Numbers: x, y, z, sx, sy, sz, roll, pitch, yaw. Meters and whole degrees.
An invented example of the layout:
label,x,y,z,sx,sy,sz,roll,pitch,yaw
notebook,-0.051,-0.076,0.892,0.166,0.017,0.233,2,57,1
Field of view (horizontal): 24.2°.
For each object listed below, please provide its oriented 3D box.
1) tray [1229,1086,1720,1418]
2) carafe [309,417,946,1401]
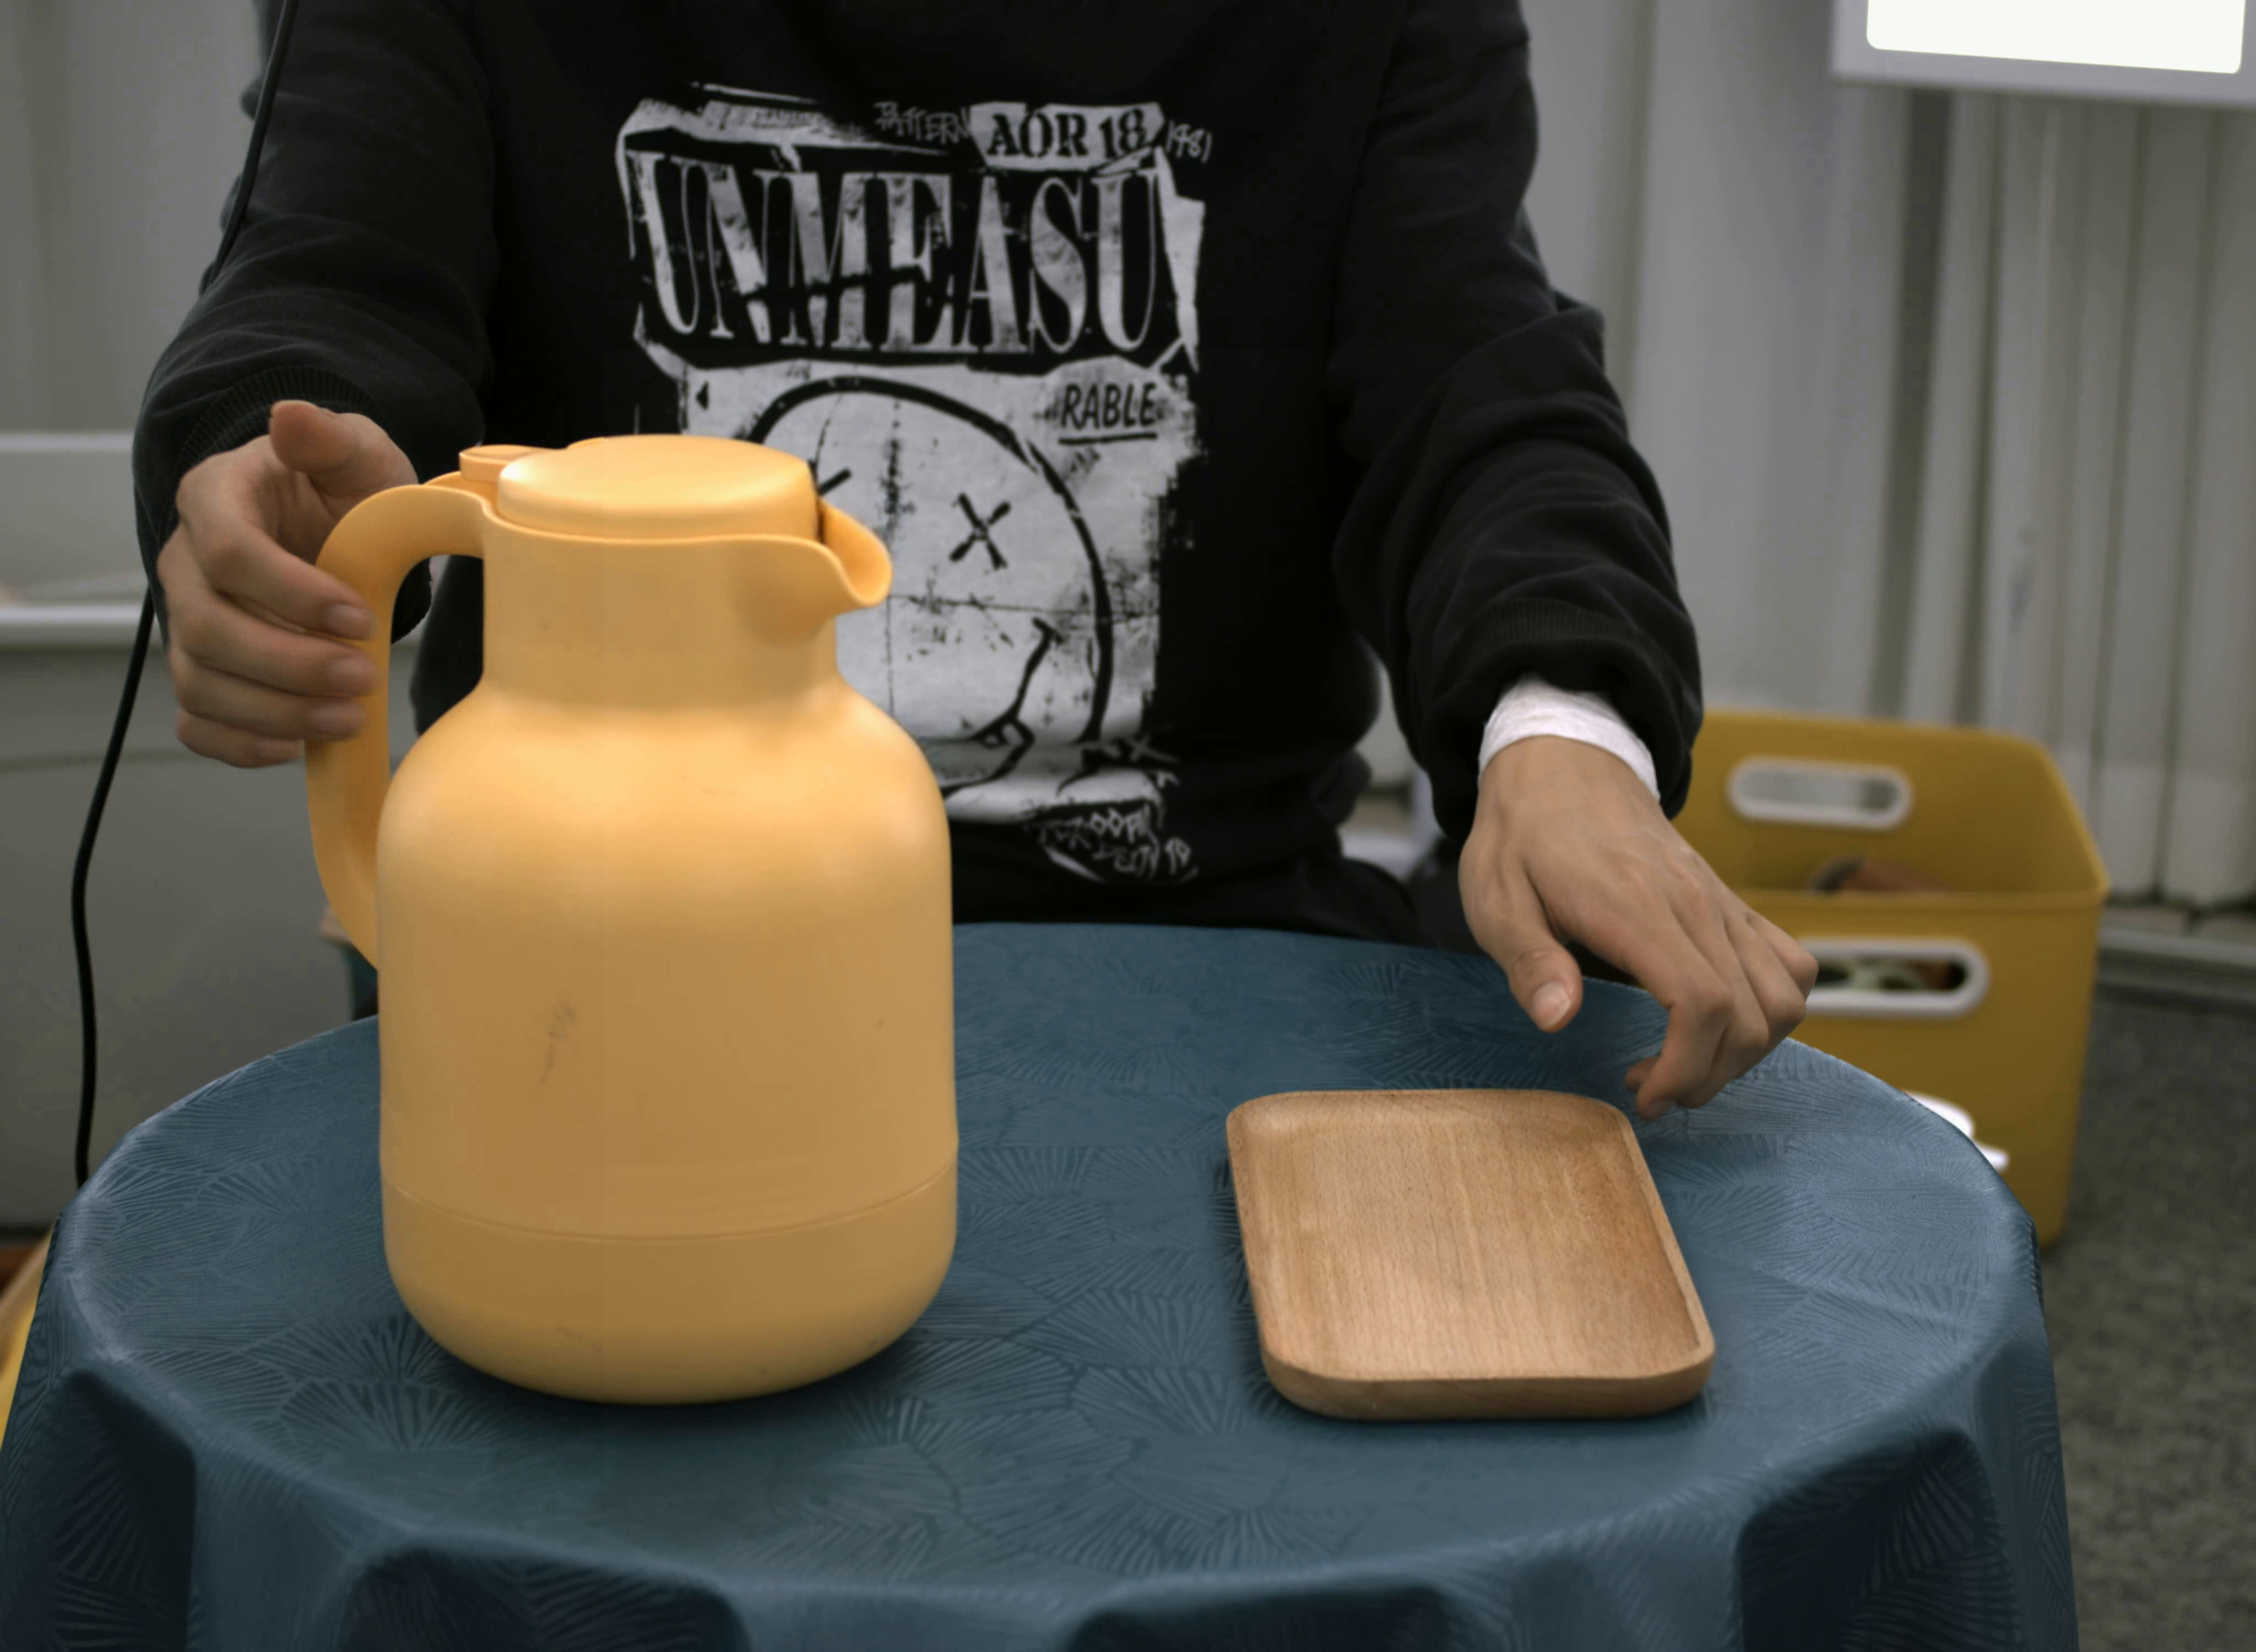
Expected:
label,x,y,z,sx,sy,sz,roll,pitch,yaw
tray,0.098,0.123,1.556,0.130,0.023,0.249,2,15,-2
carafe,-0.146,0.015,1.473,0.200,0.262,0.164,14,18,33
